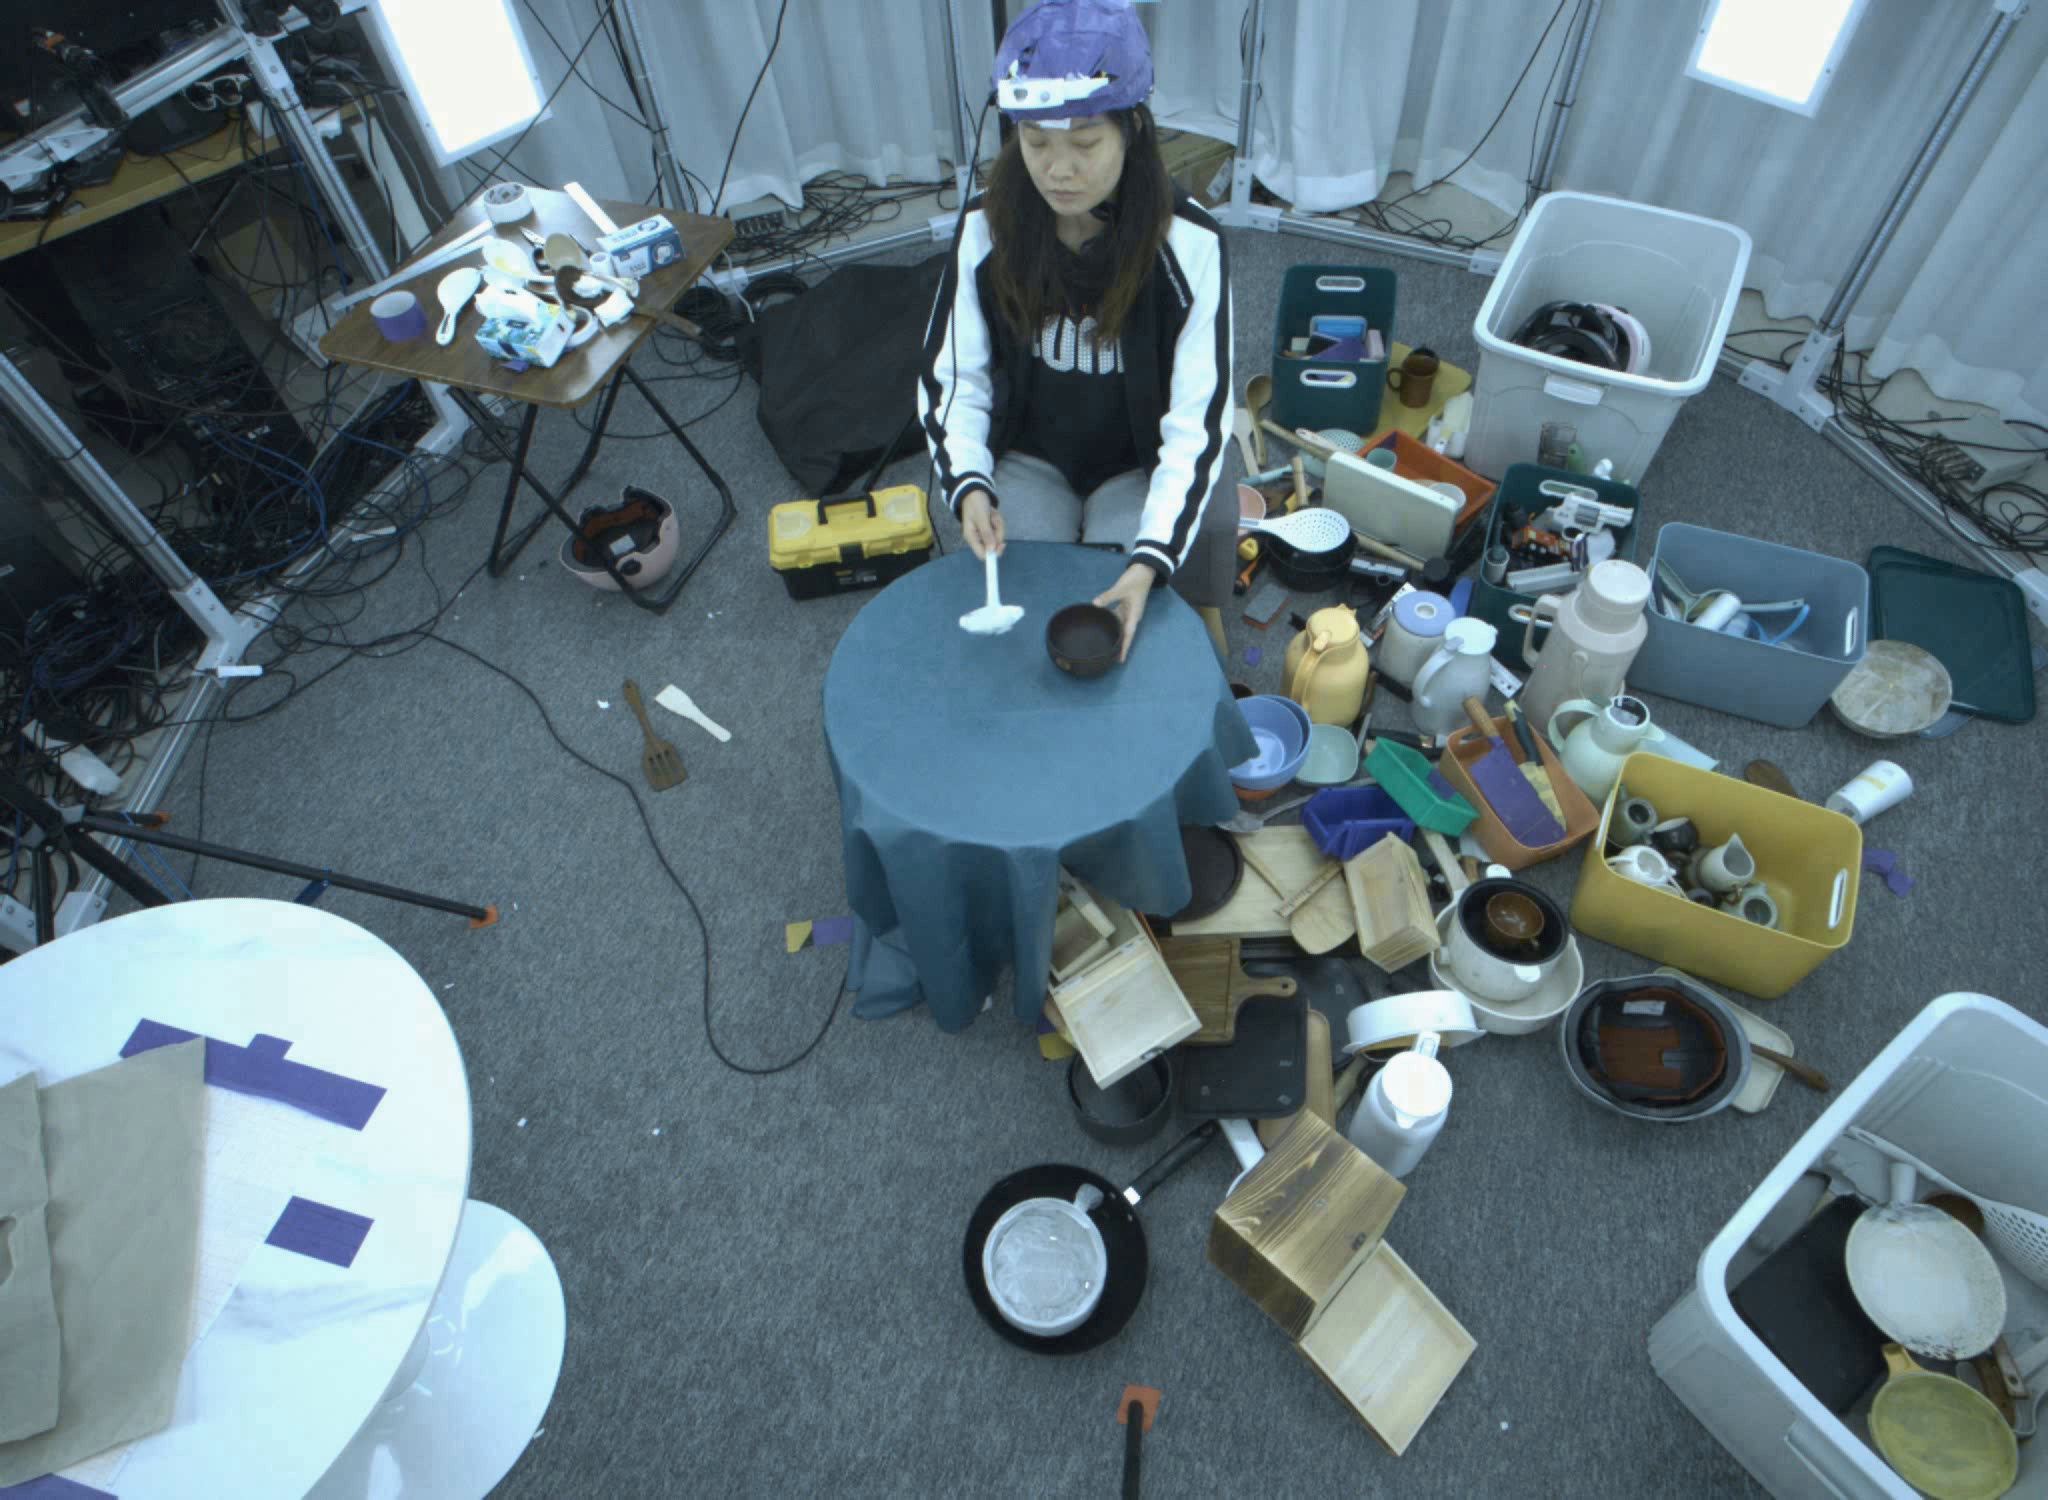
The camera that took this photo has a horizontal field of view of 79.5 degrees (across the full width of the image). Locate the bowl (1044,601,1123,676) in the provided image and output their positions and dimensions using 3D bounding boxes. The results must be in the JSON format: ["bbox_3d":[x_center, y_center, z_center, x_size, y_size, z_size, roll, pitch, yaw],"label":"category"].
[{"bbox_3d":[0.090,-0.160,1.853,0.118,0.070,0.117,0,55,2],"label":"bowl"}]

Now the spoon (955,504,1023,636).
[{"bbox_3d":[-0.051,-0.277,1.827,0.100,0.060,0.275,-3,62,5],"label":"spoon"}]
